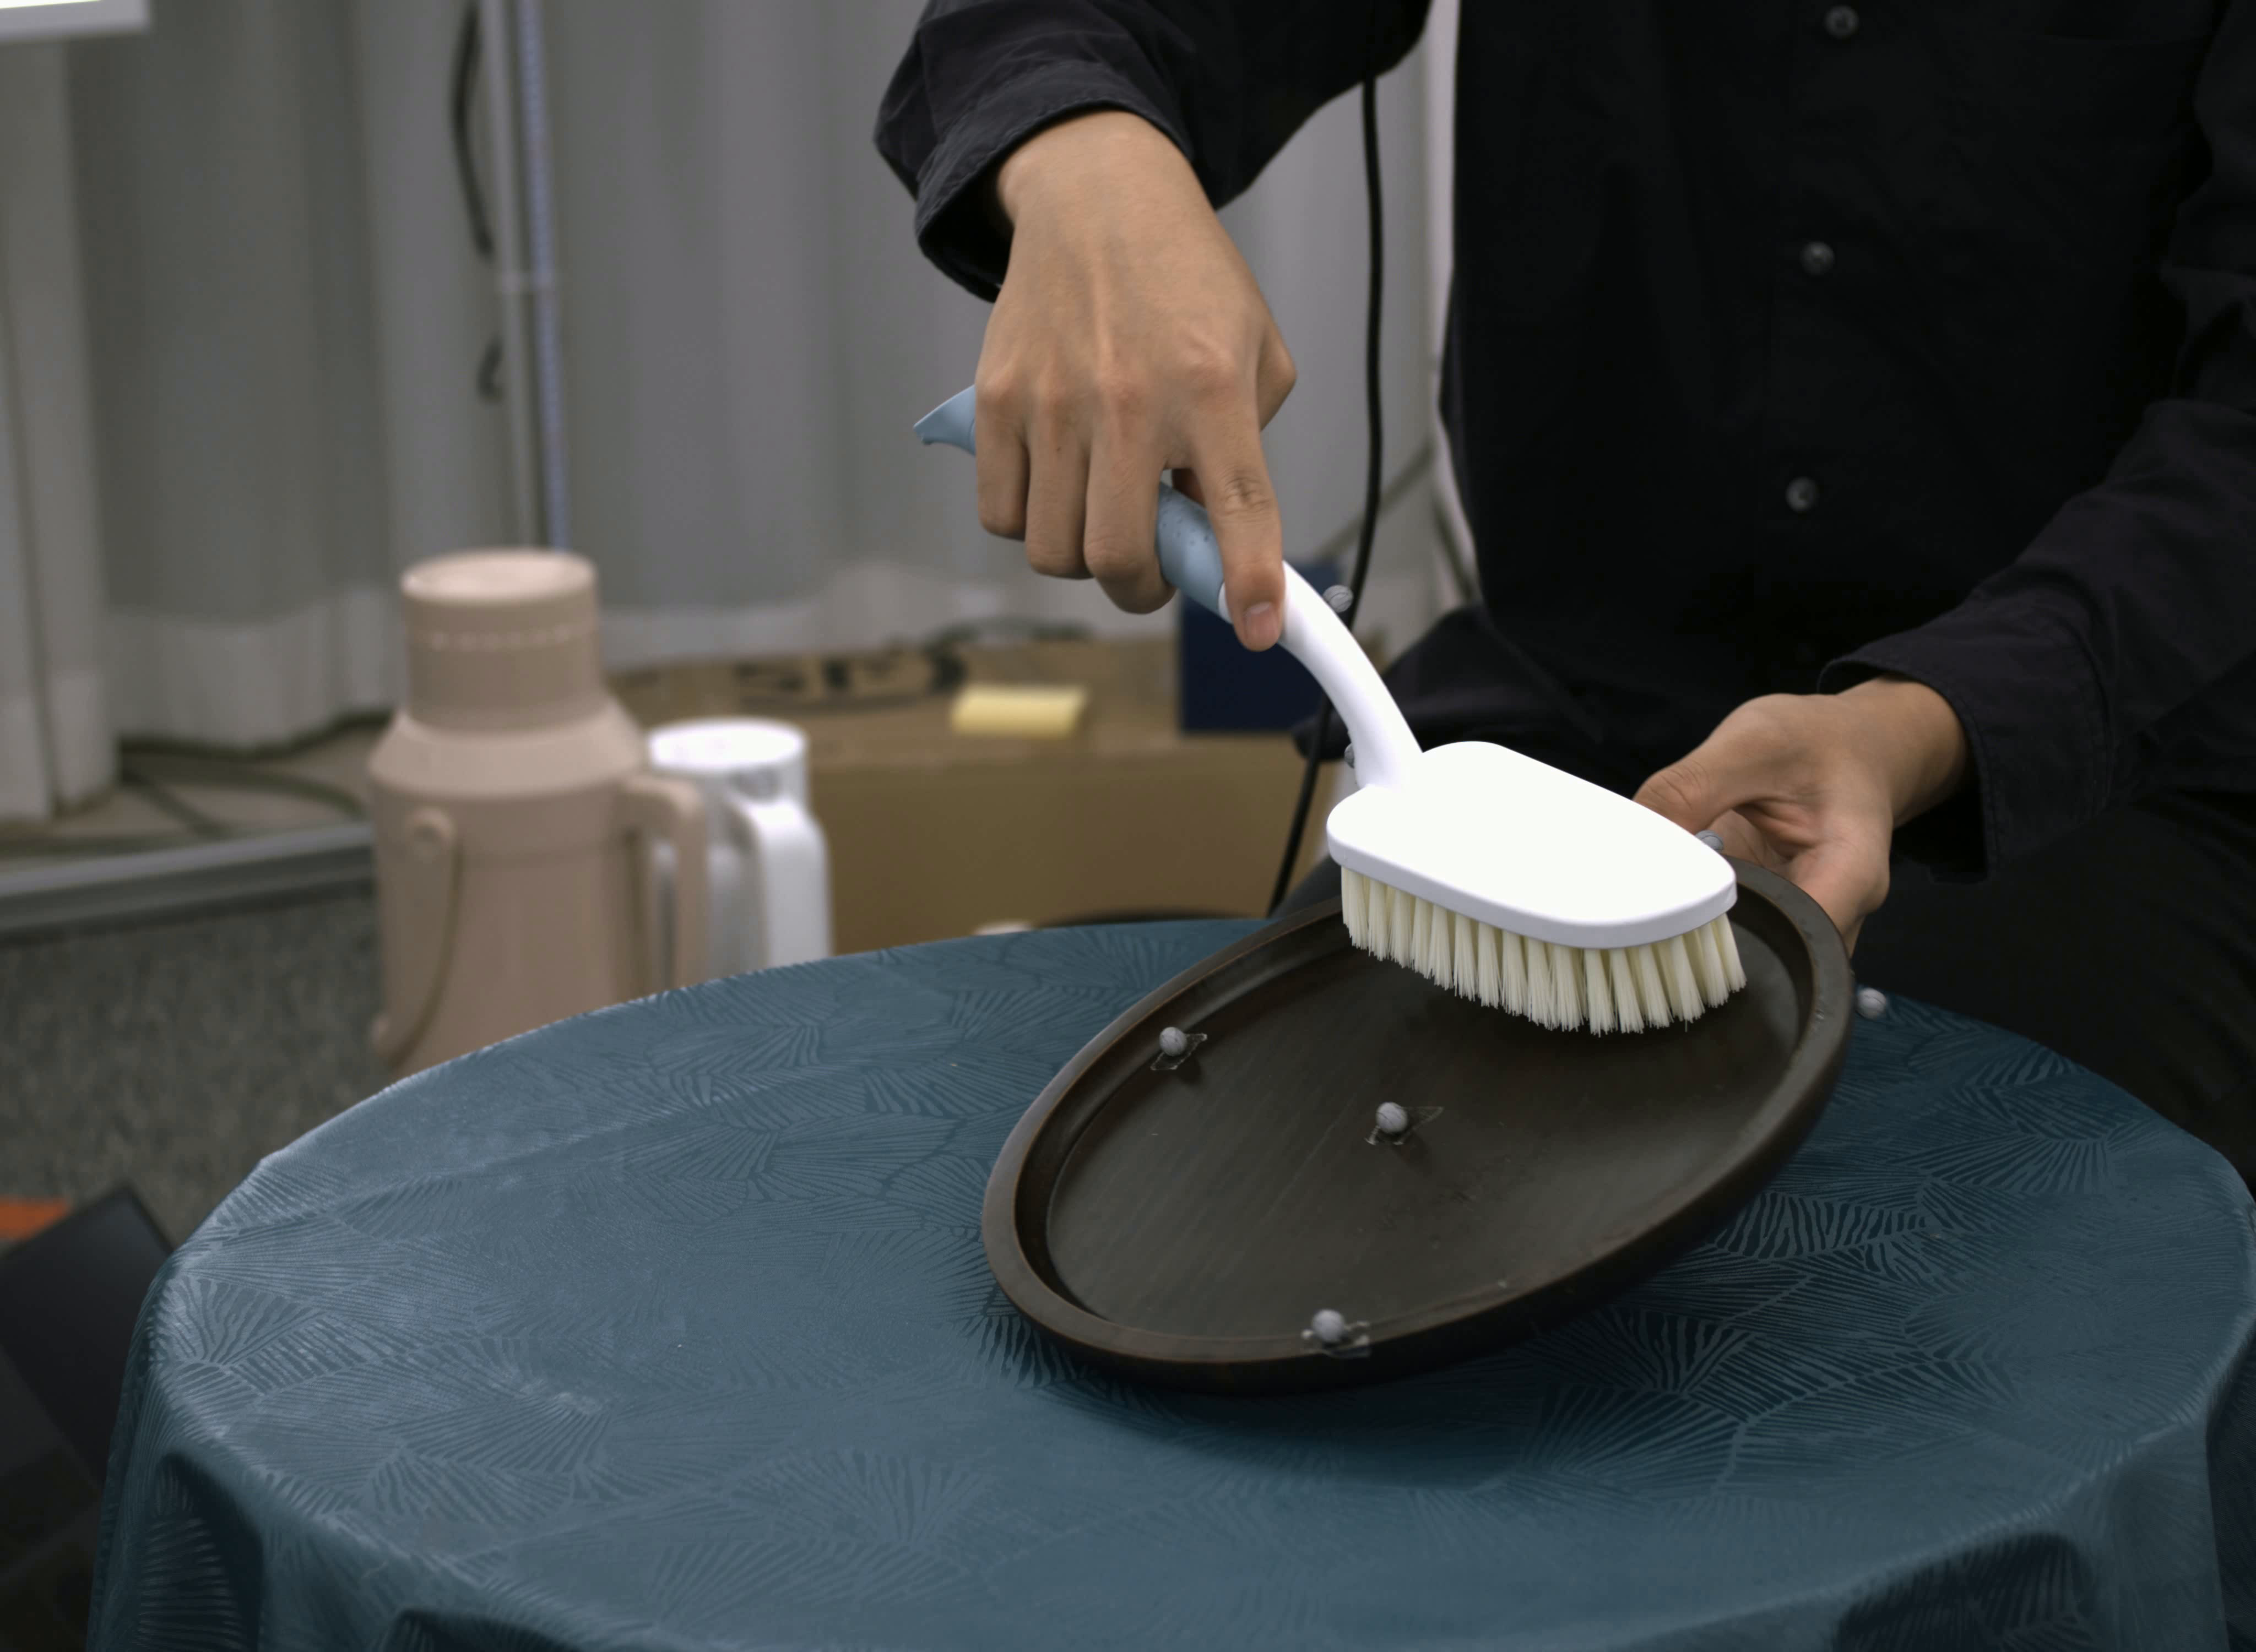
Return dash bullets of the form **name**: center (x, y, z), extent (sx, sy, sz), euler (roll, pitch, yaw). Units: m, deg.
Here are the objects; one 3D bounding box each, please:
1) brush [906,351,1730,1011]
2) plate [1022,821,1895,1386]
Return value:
- **brush**: center (0.050, -0.034, 1.557), extent (0.332, 0.085, 0.081), euler (35, 12, 34)
- **plate**: center (0.092, 0.075, 1.467), extent (0.255, 0.029, 0.257), euler (-21, 24, 8)
